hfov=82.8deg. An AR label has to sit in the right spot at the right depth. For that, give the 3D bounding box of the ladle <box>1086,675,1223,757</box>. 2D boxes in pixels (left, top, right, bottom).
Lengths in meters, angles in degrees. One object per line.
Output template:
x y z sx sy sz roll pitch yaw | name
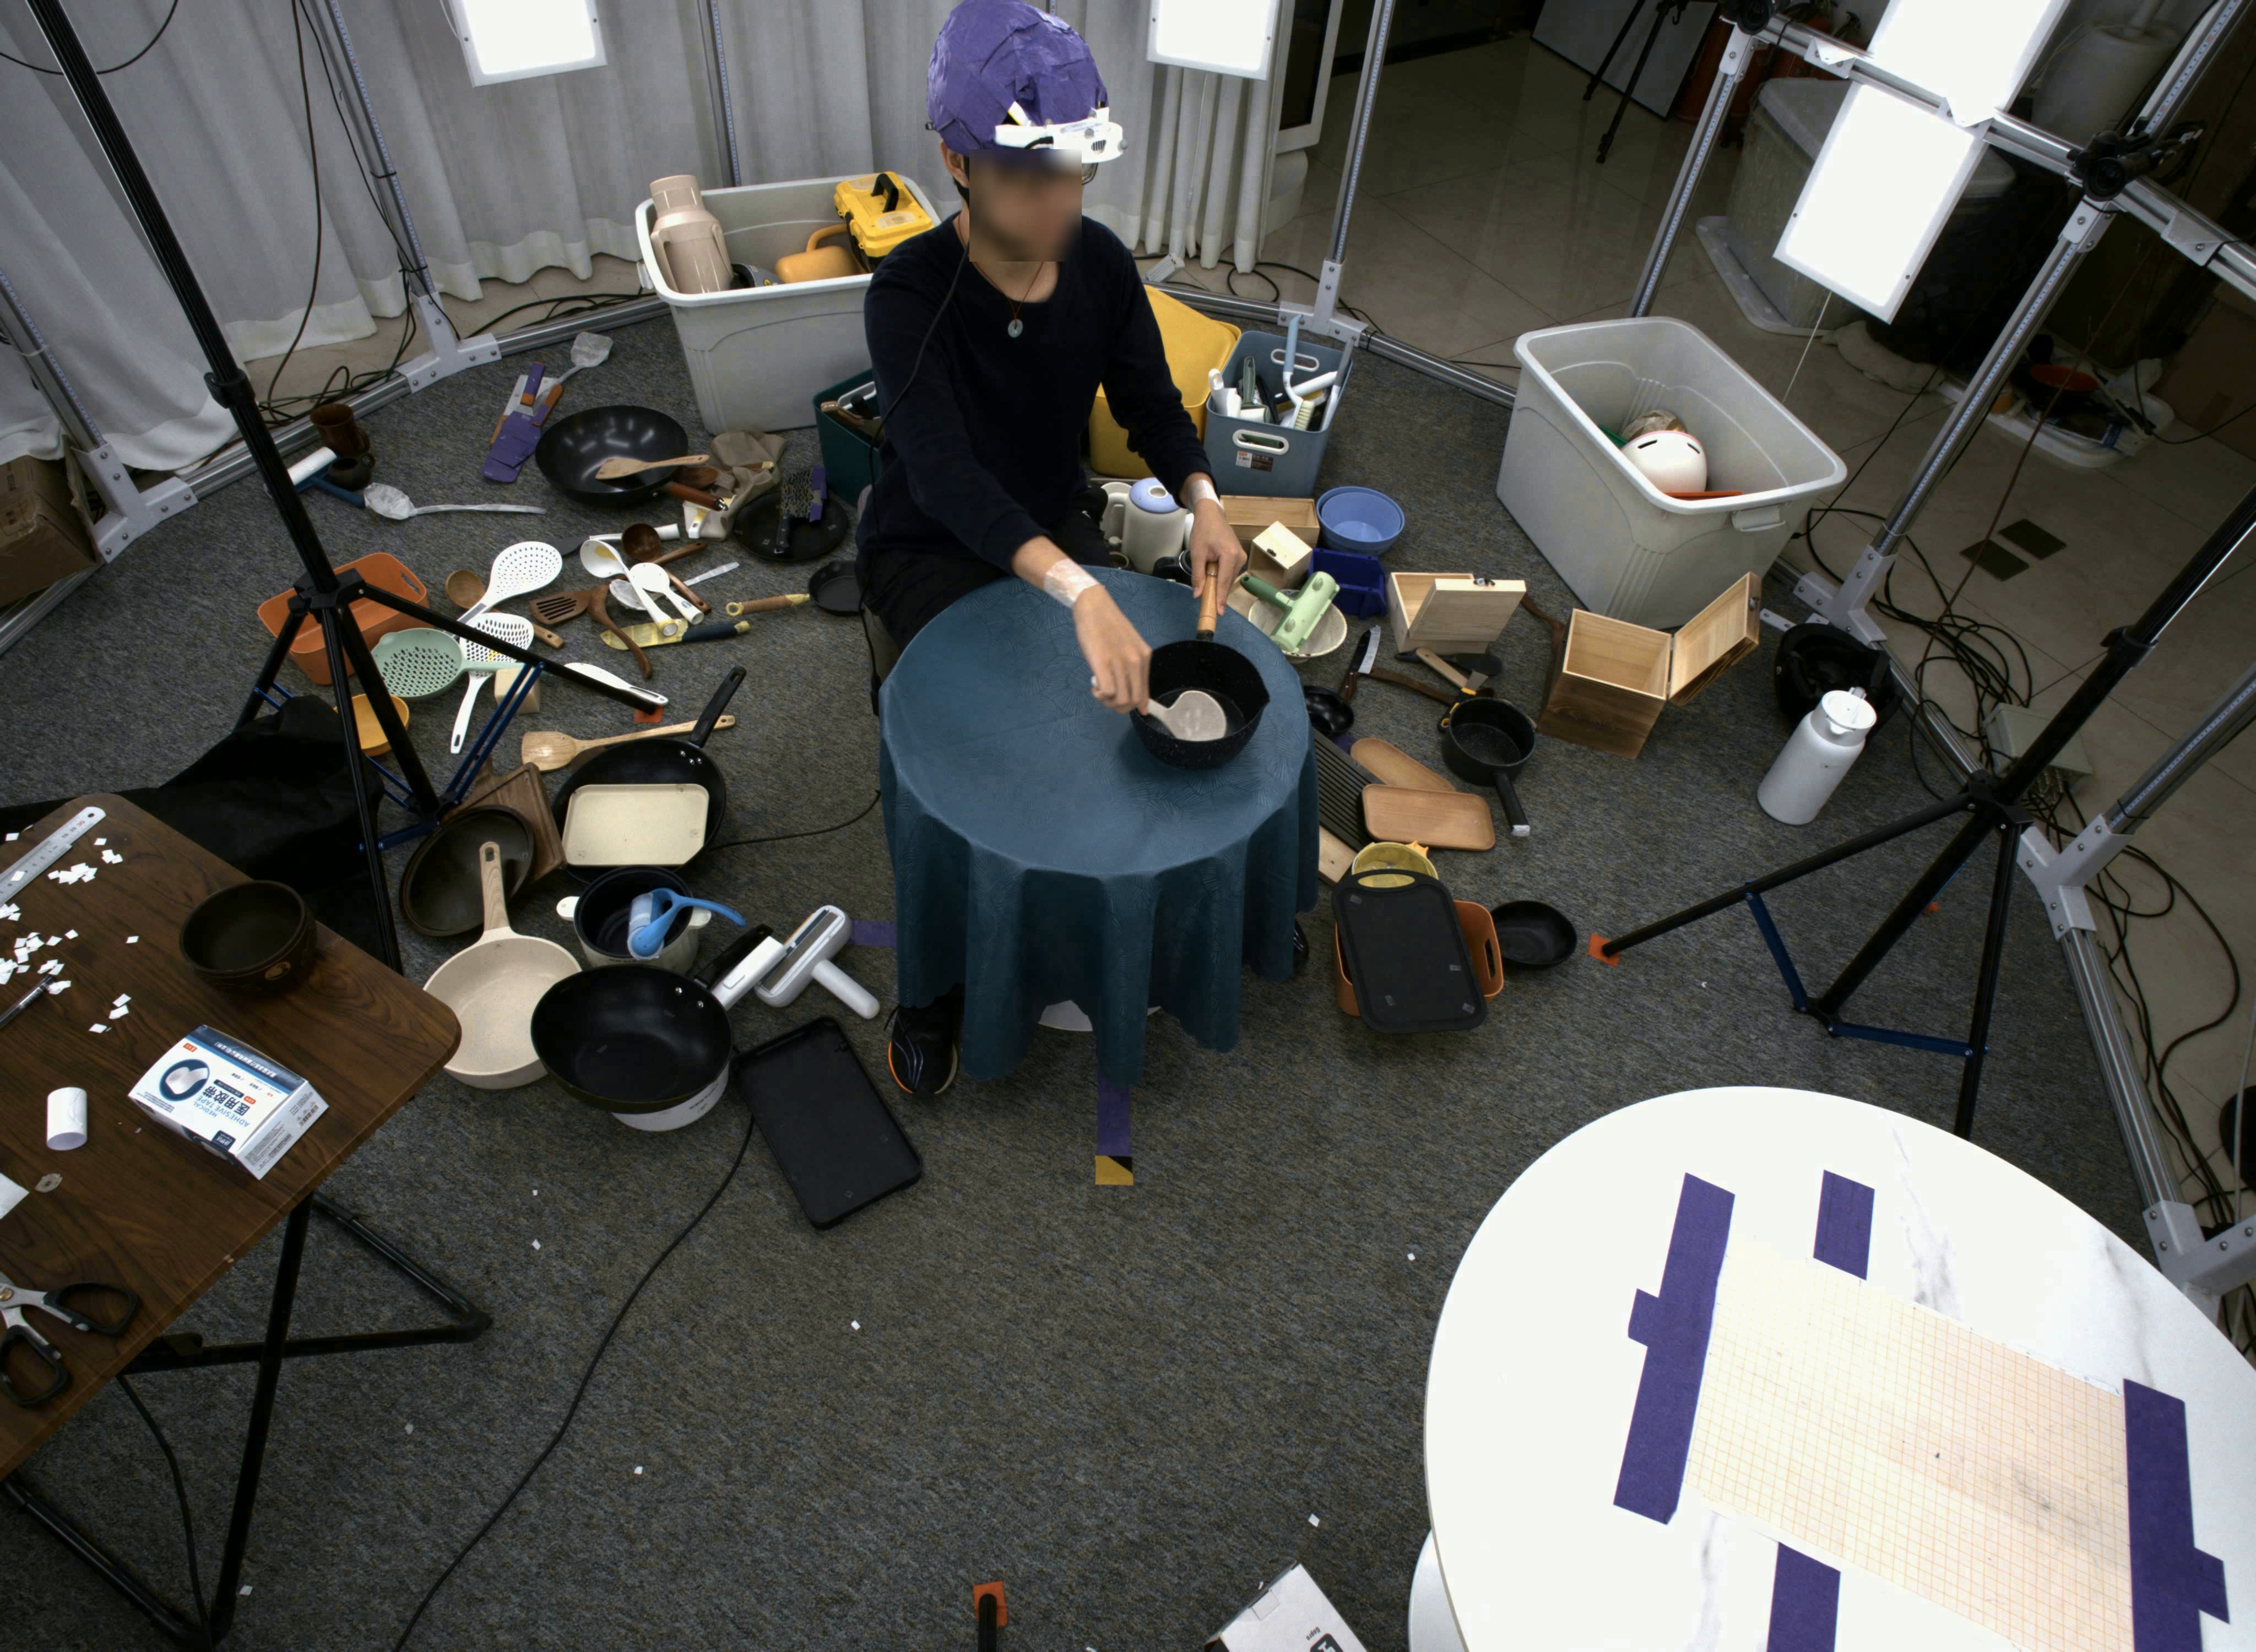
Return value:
0.039 -0.152 1.608 0.069 0.272 0.090 -1 81 26 | ladle

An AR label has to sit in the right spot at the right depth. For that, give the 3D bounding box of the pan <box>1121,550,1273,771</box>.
0.101 -0.231 1.791 0.207 0.105 0.351 5 54 5 | pan
